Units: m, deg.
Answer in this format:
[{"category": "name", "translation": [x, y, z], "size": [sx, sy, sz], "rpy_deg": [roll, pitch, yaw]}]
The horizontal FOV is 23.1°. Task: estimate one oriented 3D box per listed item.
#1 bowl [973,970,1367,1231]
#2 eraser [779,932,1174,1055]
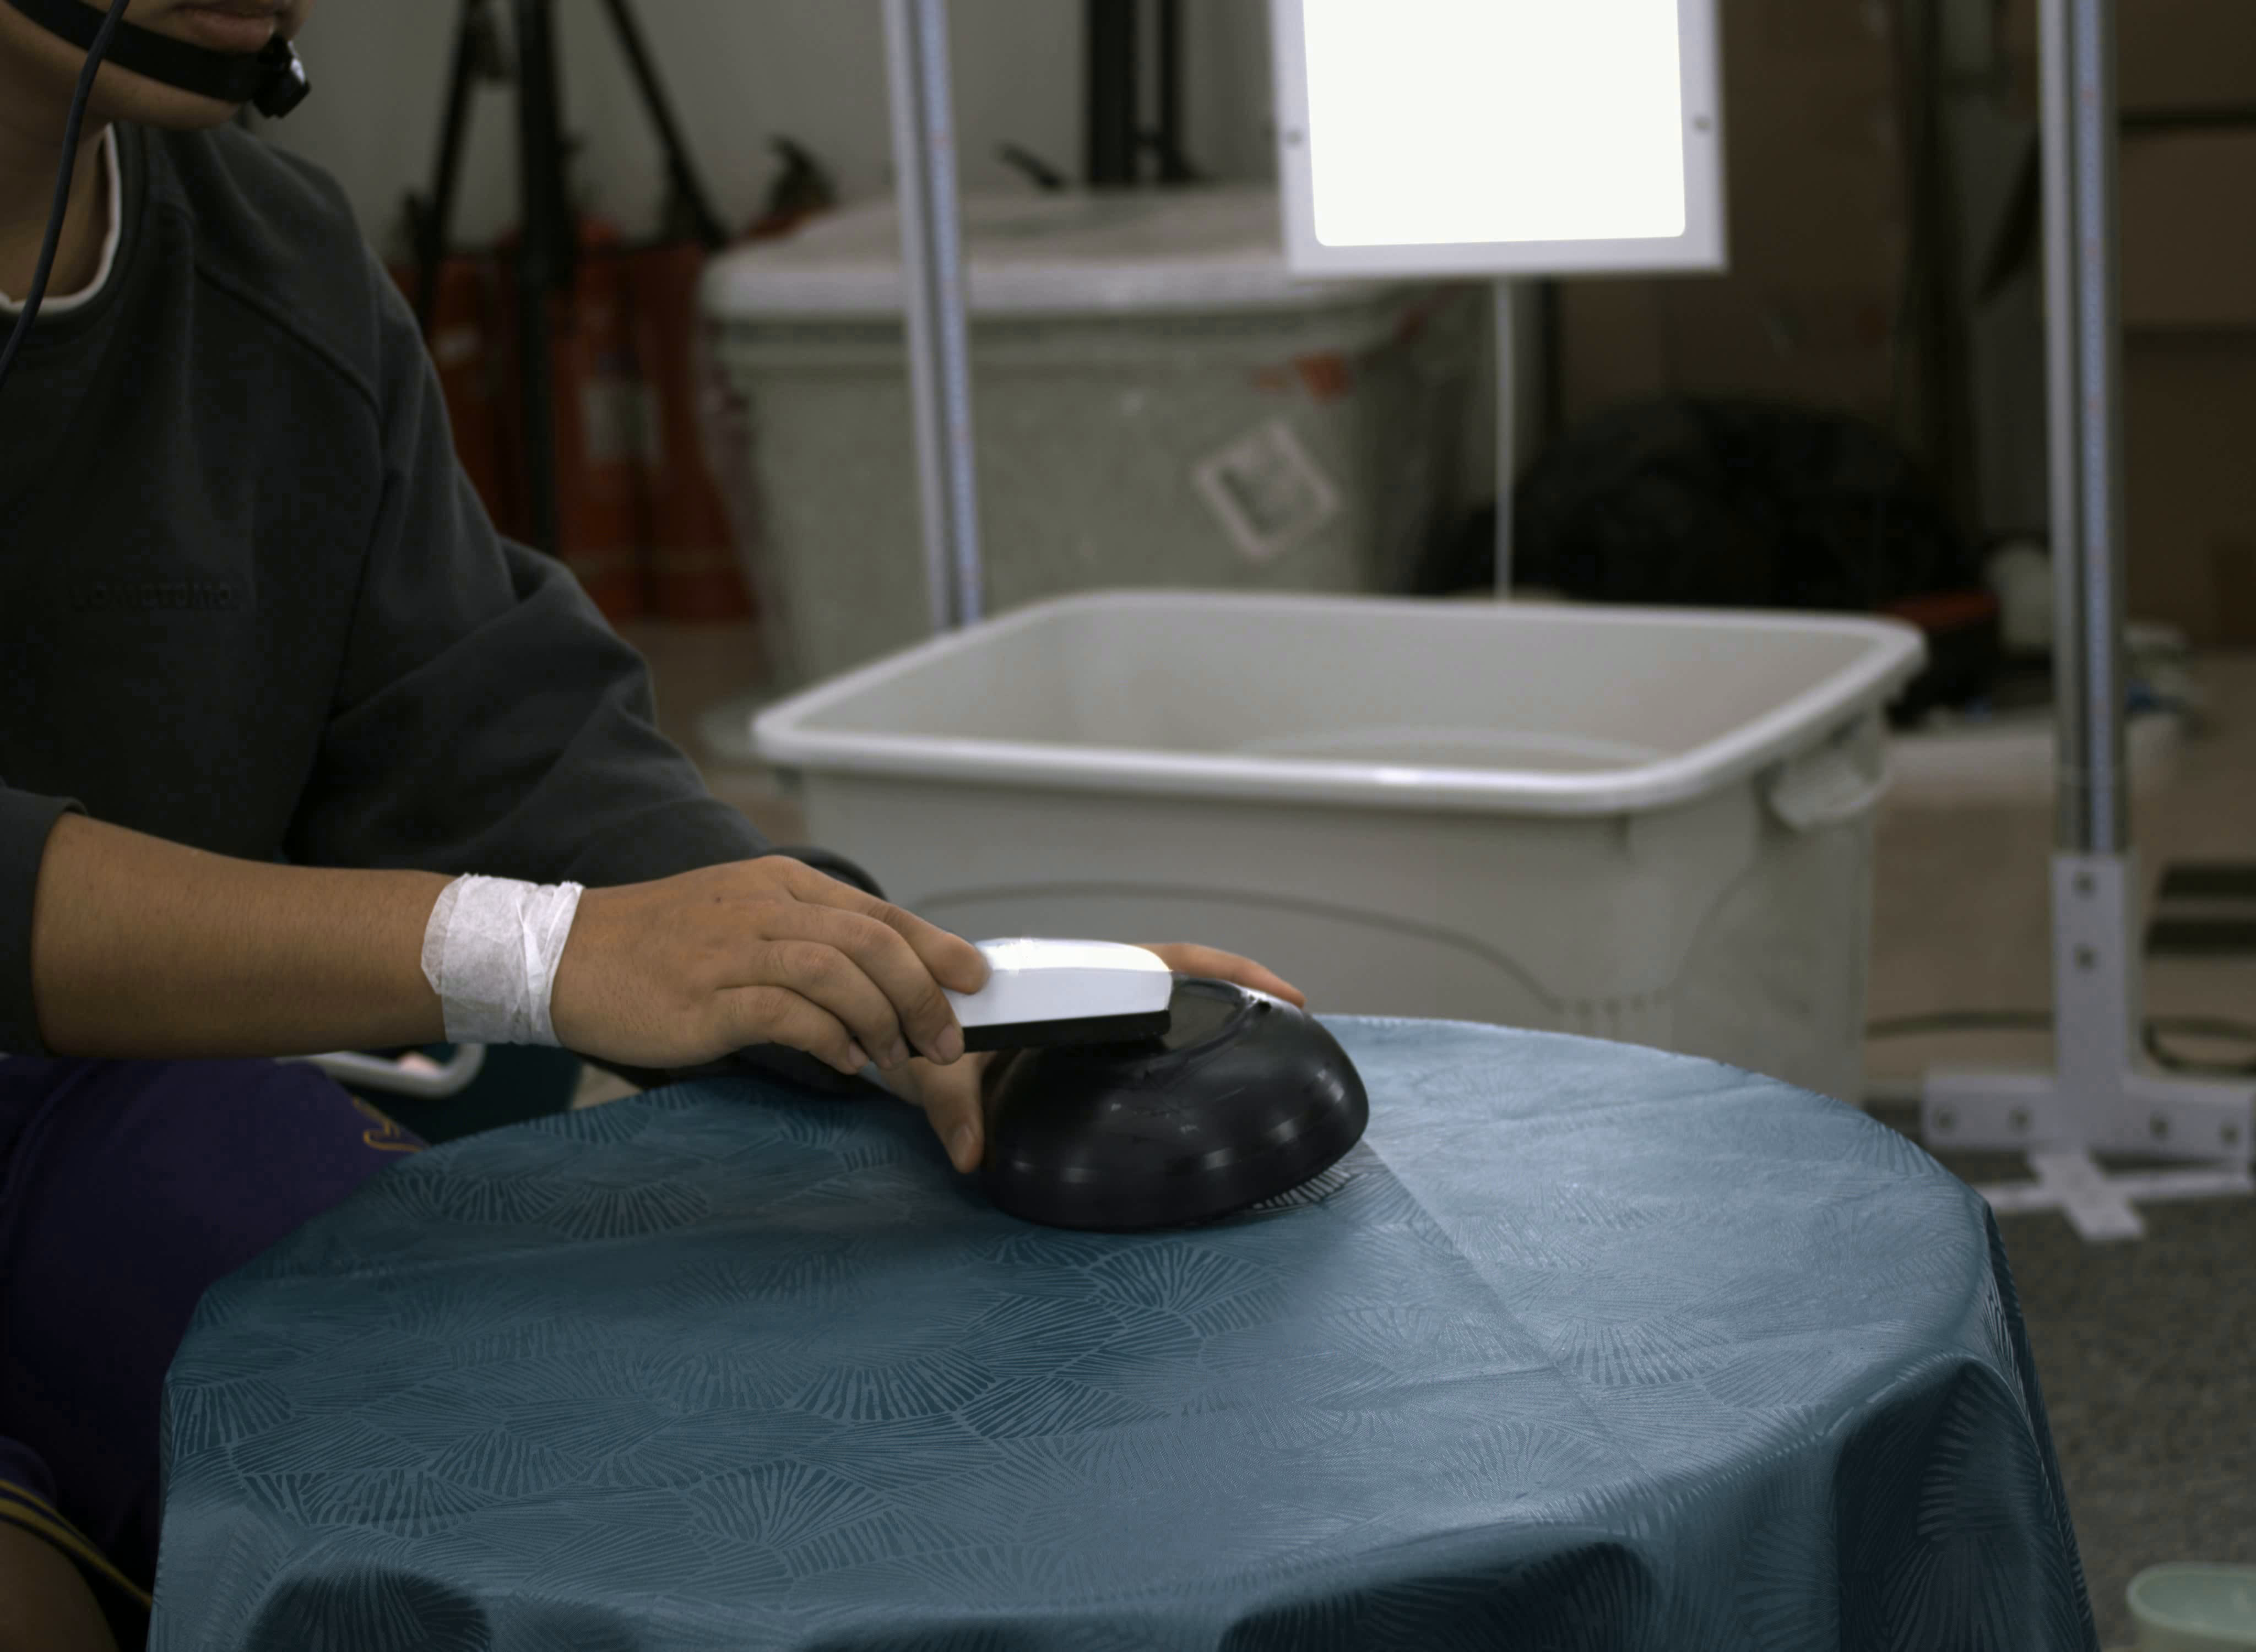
[{"category": "bowl", "translation": [0.011, 0.087, 1.903], "size": [0.140, 0.050, 0.140], "rpy_deg": [-11, 22, 3]}, {"category": "eraser", "translation": [-0.052, 0.057, 1.875], "size": [0.130, 0.034, 0.064], "rpy_deg": [-2, 7, -11]}]
